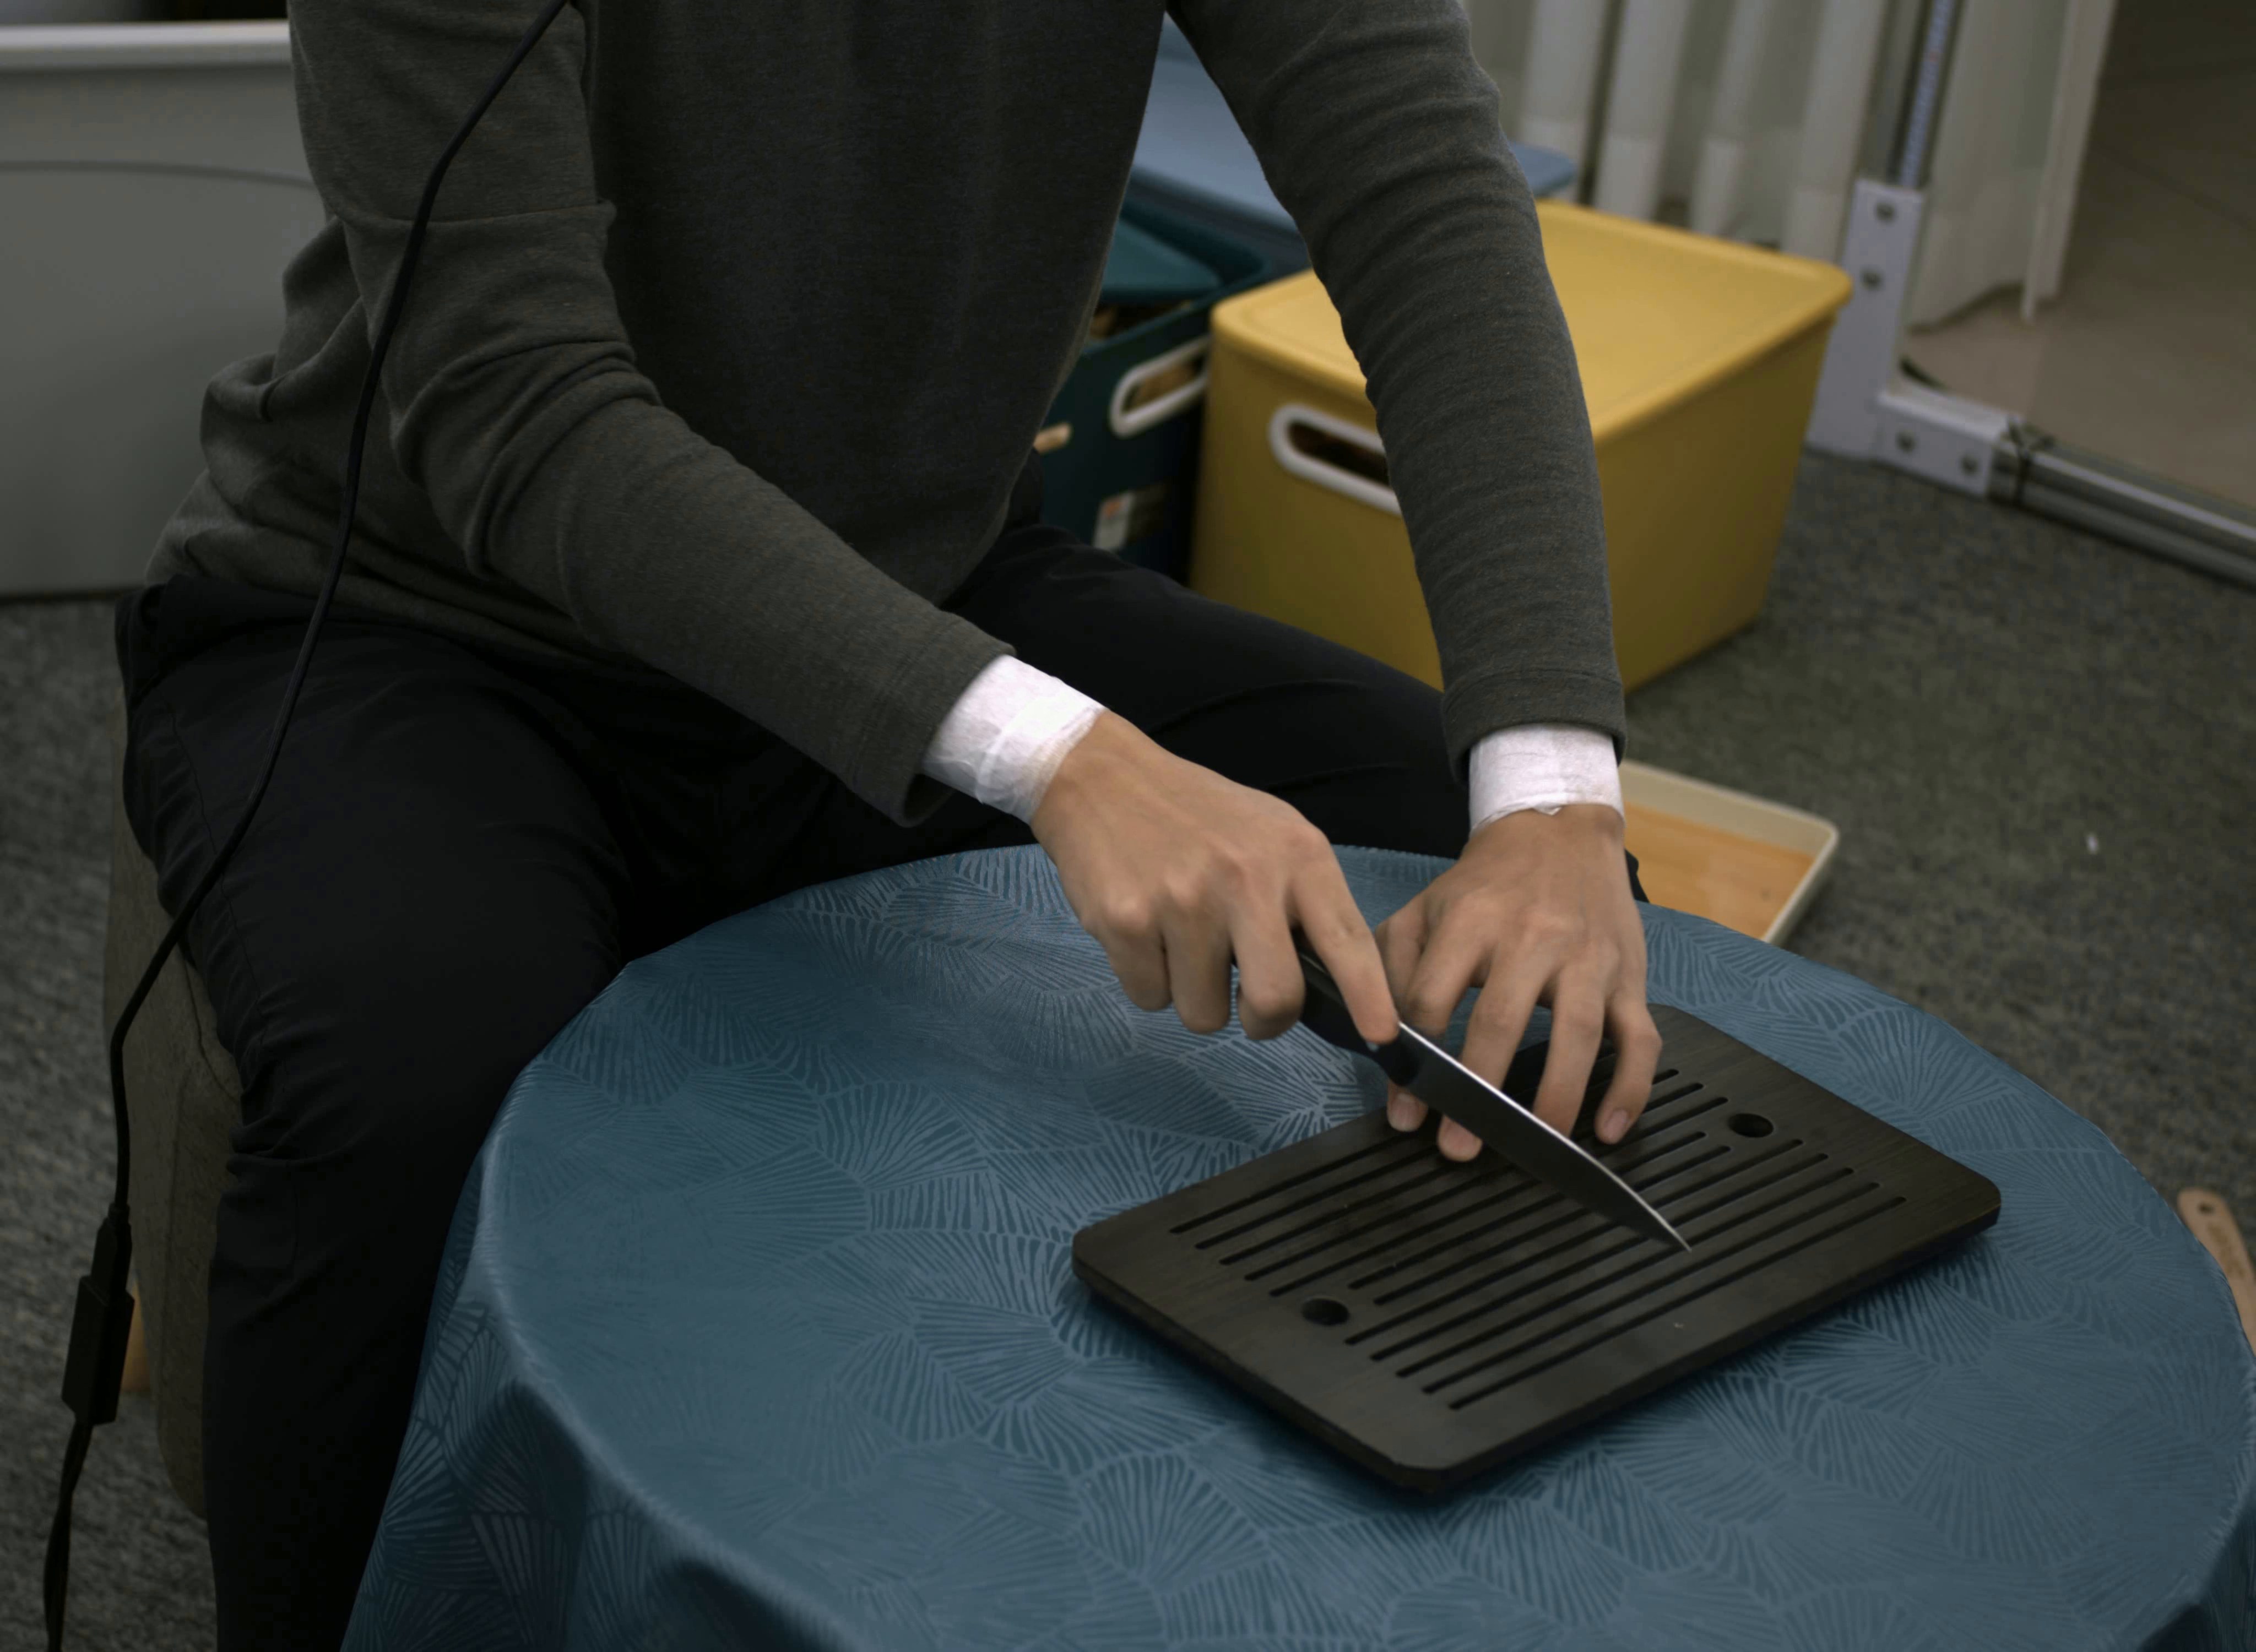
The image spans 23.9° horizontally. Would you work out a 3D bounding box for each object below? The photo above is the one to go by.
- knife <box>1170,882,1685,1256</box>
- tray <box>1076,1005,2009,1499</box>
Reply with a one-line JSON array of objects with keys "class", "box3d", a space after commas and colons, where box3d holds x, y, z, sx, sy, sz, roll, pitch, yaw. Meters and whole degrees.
[{"class": "knife", "box3d": [0.100, 0.079, 1.787, 0.016, 0.024, 0.240, -17, 40, -42]}, {"class": "tray", "box3d": [0.142, 0.140, 1.787, 0.304, 0.018, 0.171, -19, 36, -40]}]
